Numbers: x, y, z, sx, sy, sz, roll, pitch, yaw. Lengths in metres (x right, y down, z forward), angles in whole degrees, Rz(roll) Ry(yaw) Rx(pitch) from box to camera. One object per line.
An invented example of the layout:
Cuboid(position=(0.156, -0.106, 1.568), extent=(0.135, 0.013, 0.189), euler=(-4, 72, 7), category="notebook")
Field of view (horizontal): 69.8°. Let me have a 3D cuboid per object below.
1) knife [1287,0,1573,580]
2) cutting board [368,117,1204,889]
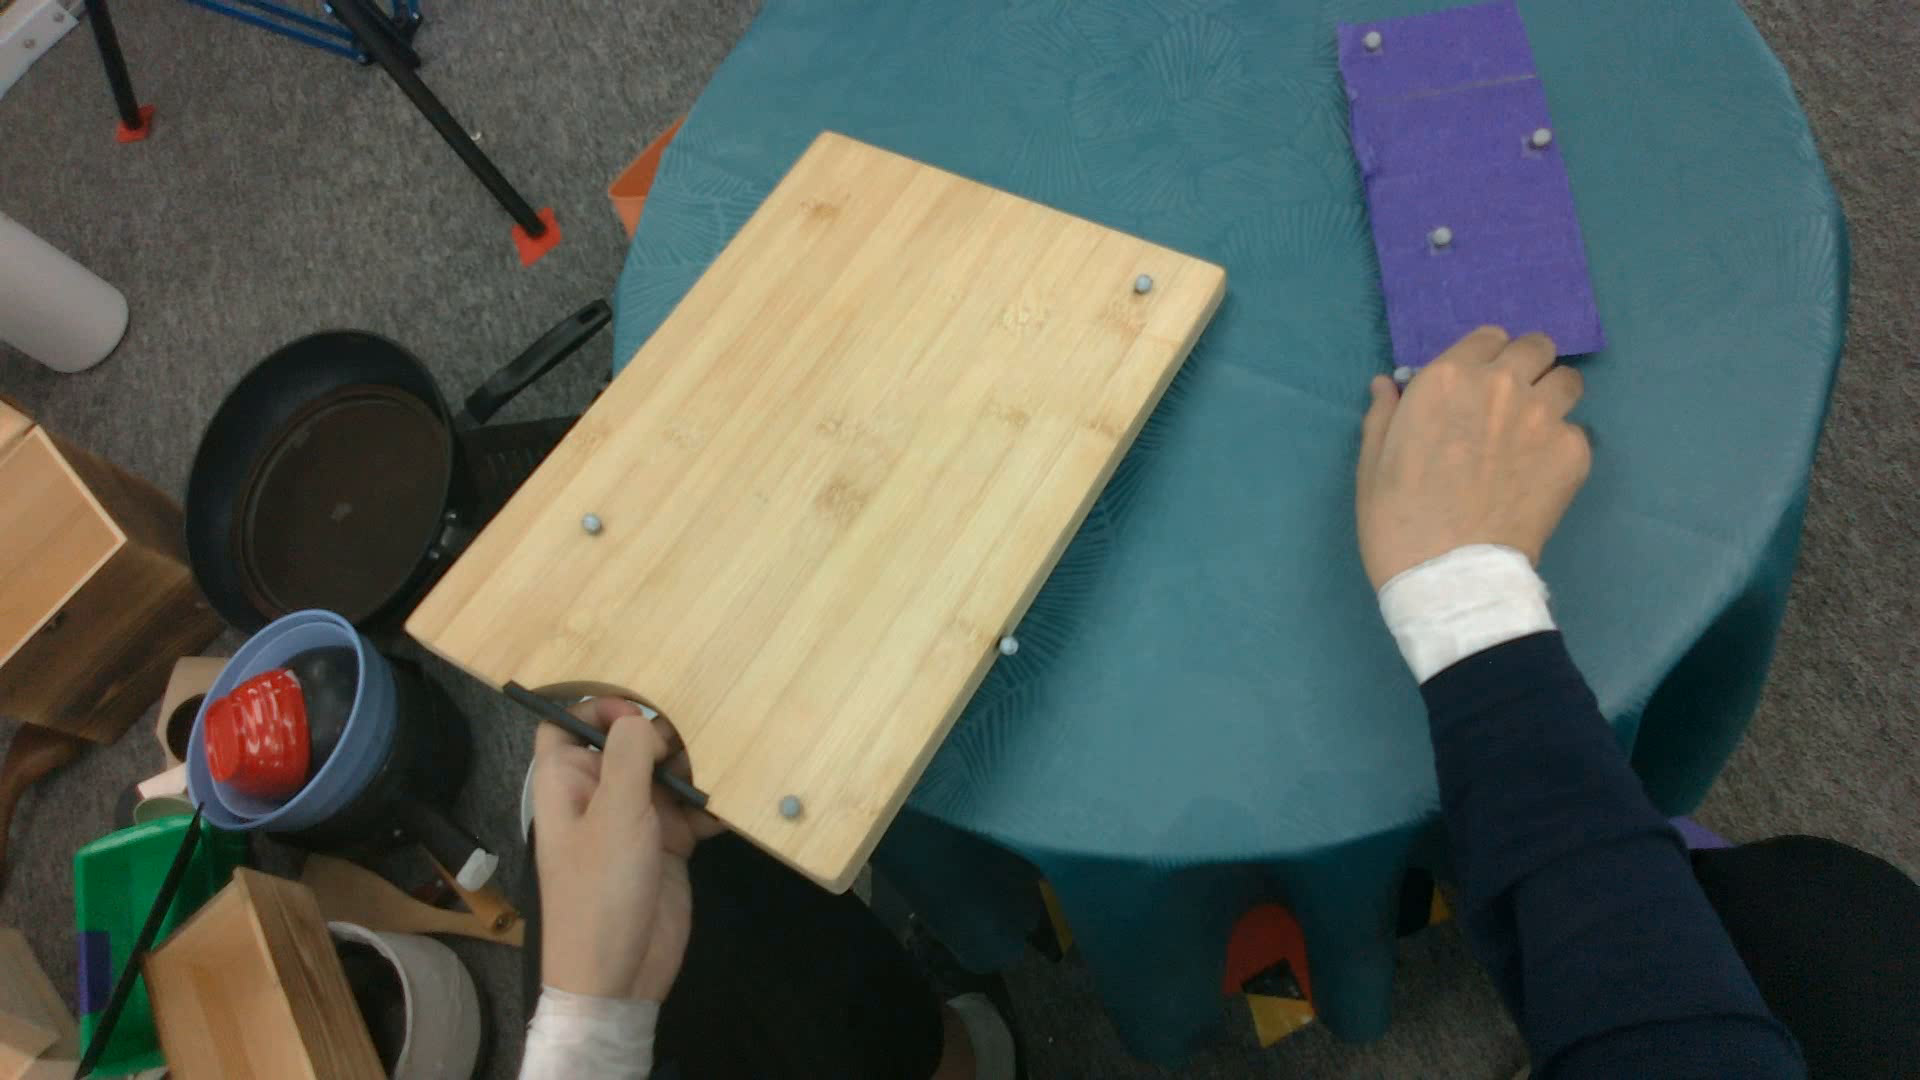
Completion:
Cuboid(position=(0.228, -0.136, 0.639), extent=(0.104, 0.032, 0.316), euler=(-7, 68, 8), category="knife")
Cuboid(position=(-0.071, -0.044, 0.644), extent=(0.250, 0.023, 0.350), euler=(24, 66, 20), category="cutting board")
